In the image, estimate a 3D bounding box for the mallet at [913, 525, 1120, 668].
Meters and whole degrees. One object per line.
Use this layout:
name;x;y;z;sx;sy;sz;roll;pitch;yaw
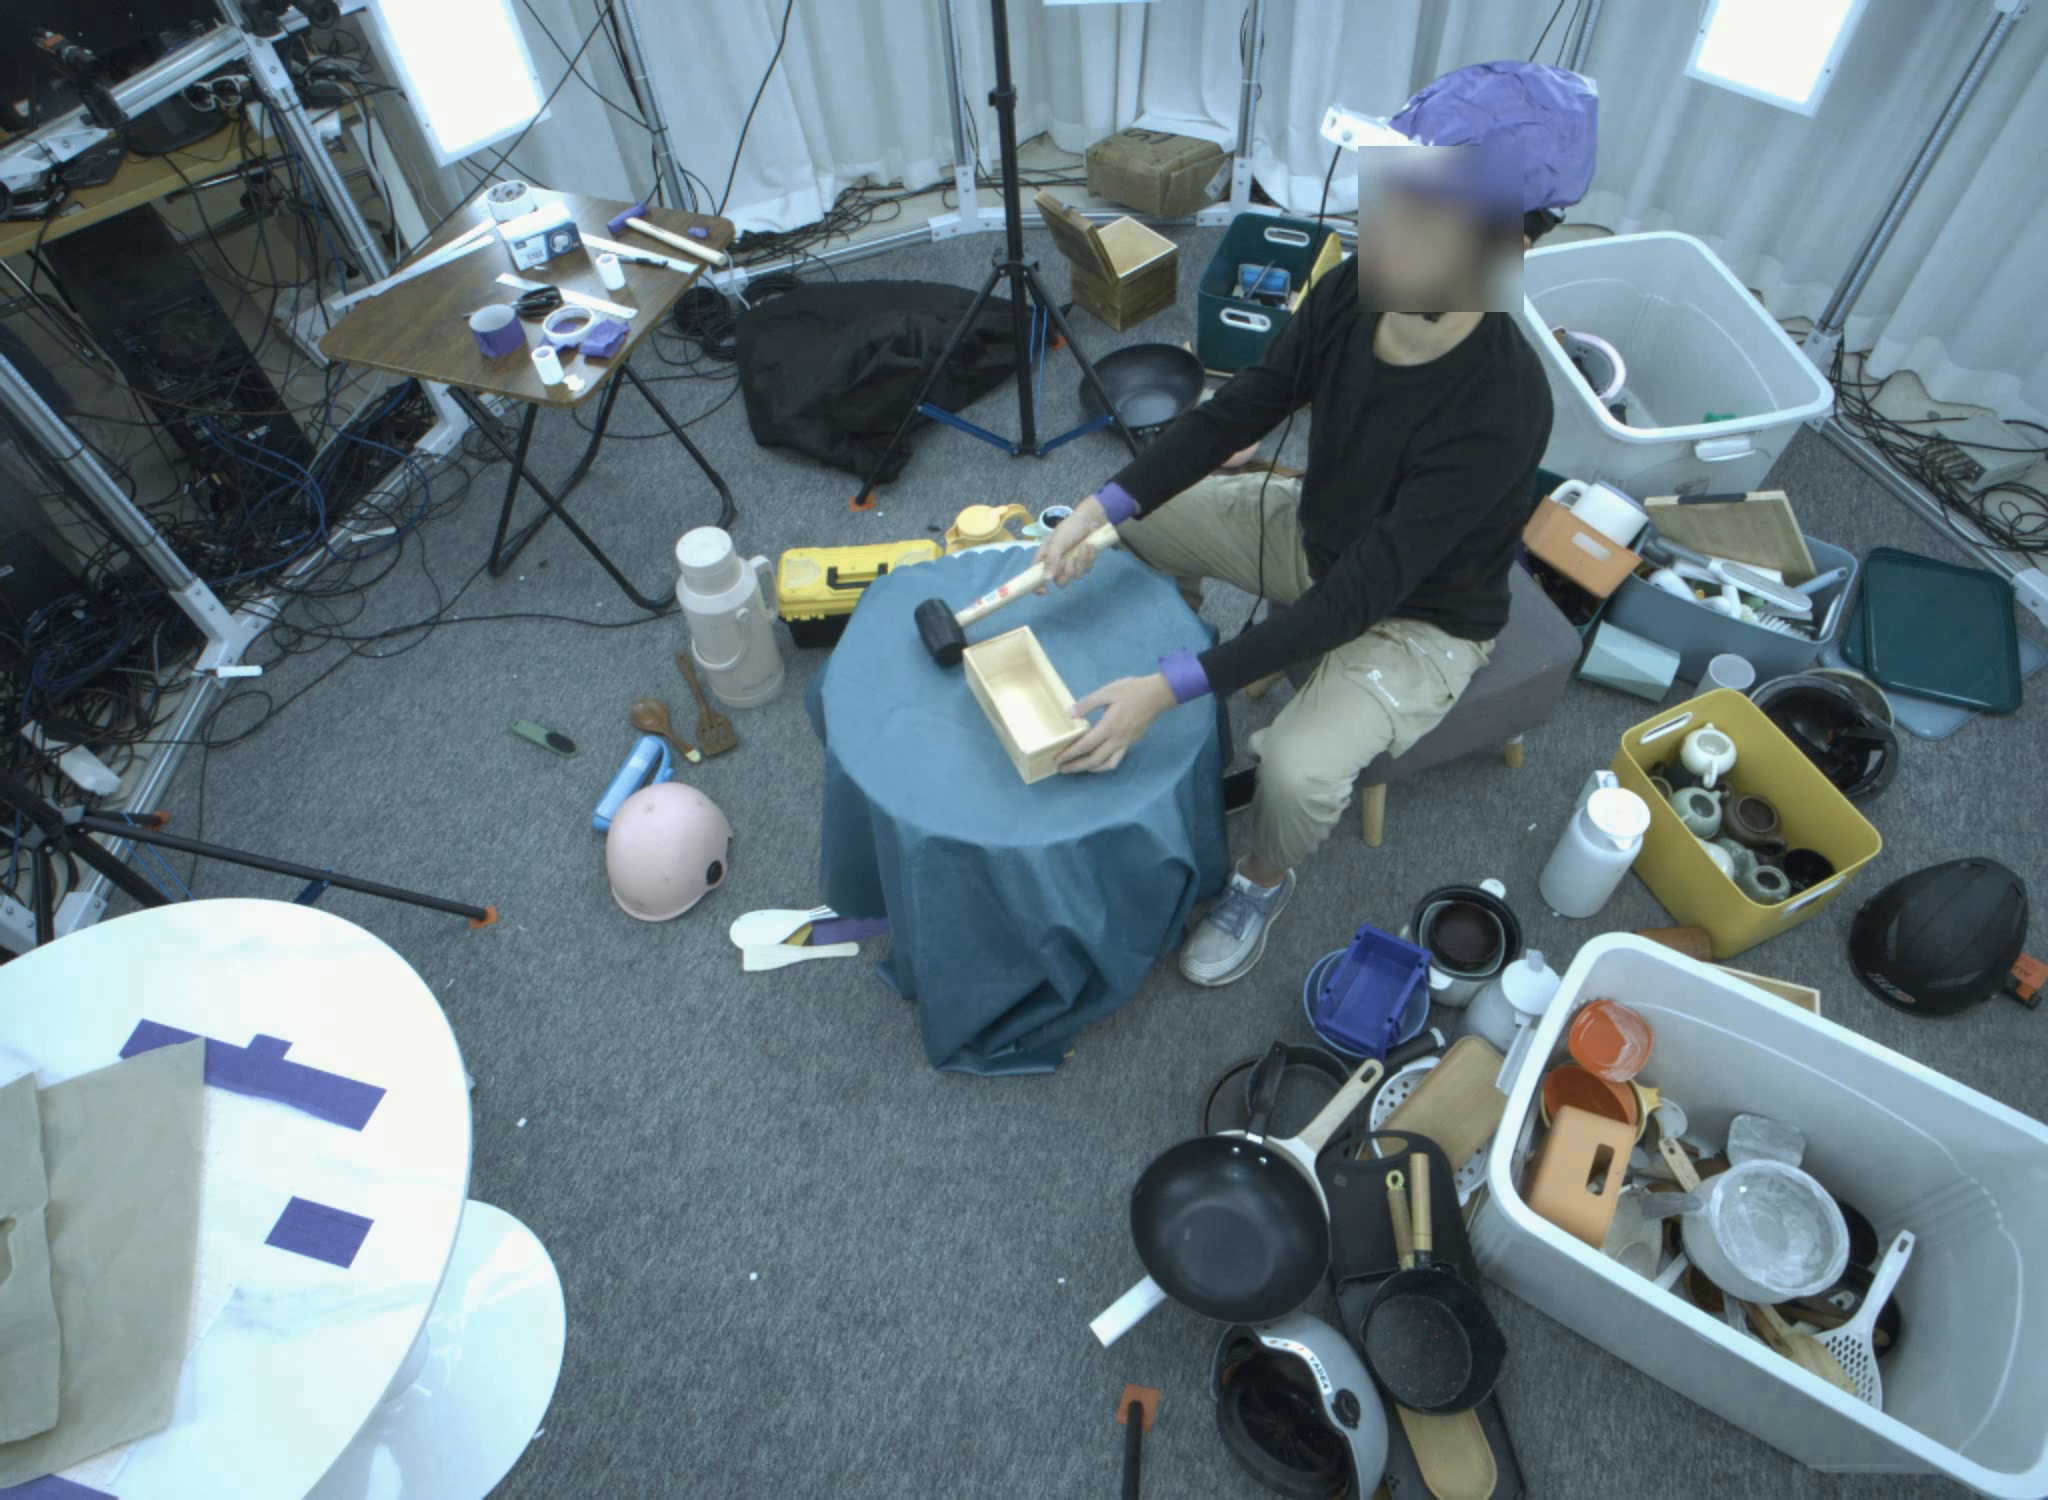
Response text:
mallet;-0.012;-0.251;1.864;0.338;0.065;0.100;-31;60;5

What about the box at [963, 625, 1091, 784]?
box;0.003;-0.068;1.783;0.108;0.081;0.207;-22;57;-13
